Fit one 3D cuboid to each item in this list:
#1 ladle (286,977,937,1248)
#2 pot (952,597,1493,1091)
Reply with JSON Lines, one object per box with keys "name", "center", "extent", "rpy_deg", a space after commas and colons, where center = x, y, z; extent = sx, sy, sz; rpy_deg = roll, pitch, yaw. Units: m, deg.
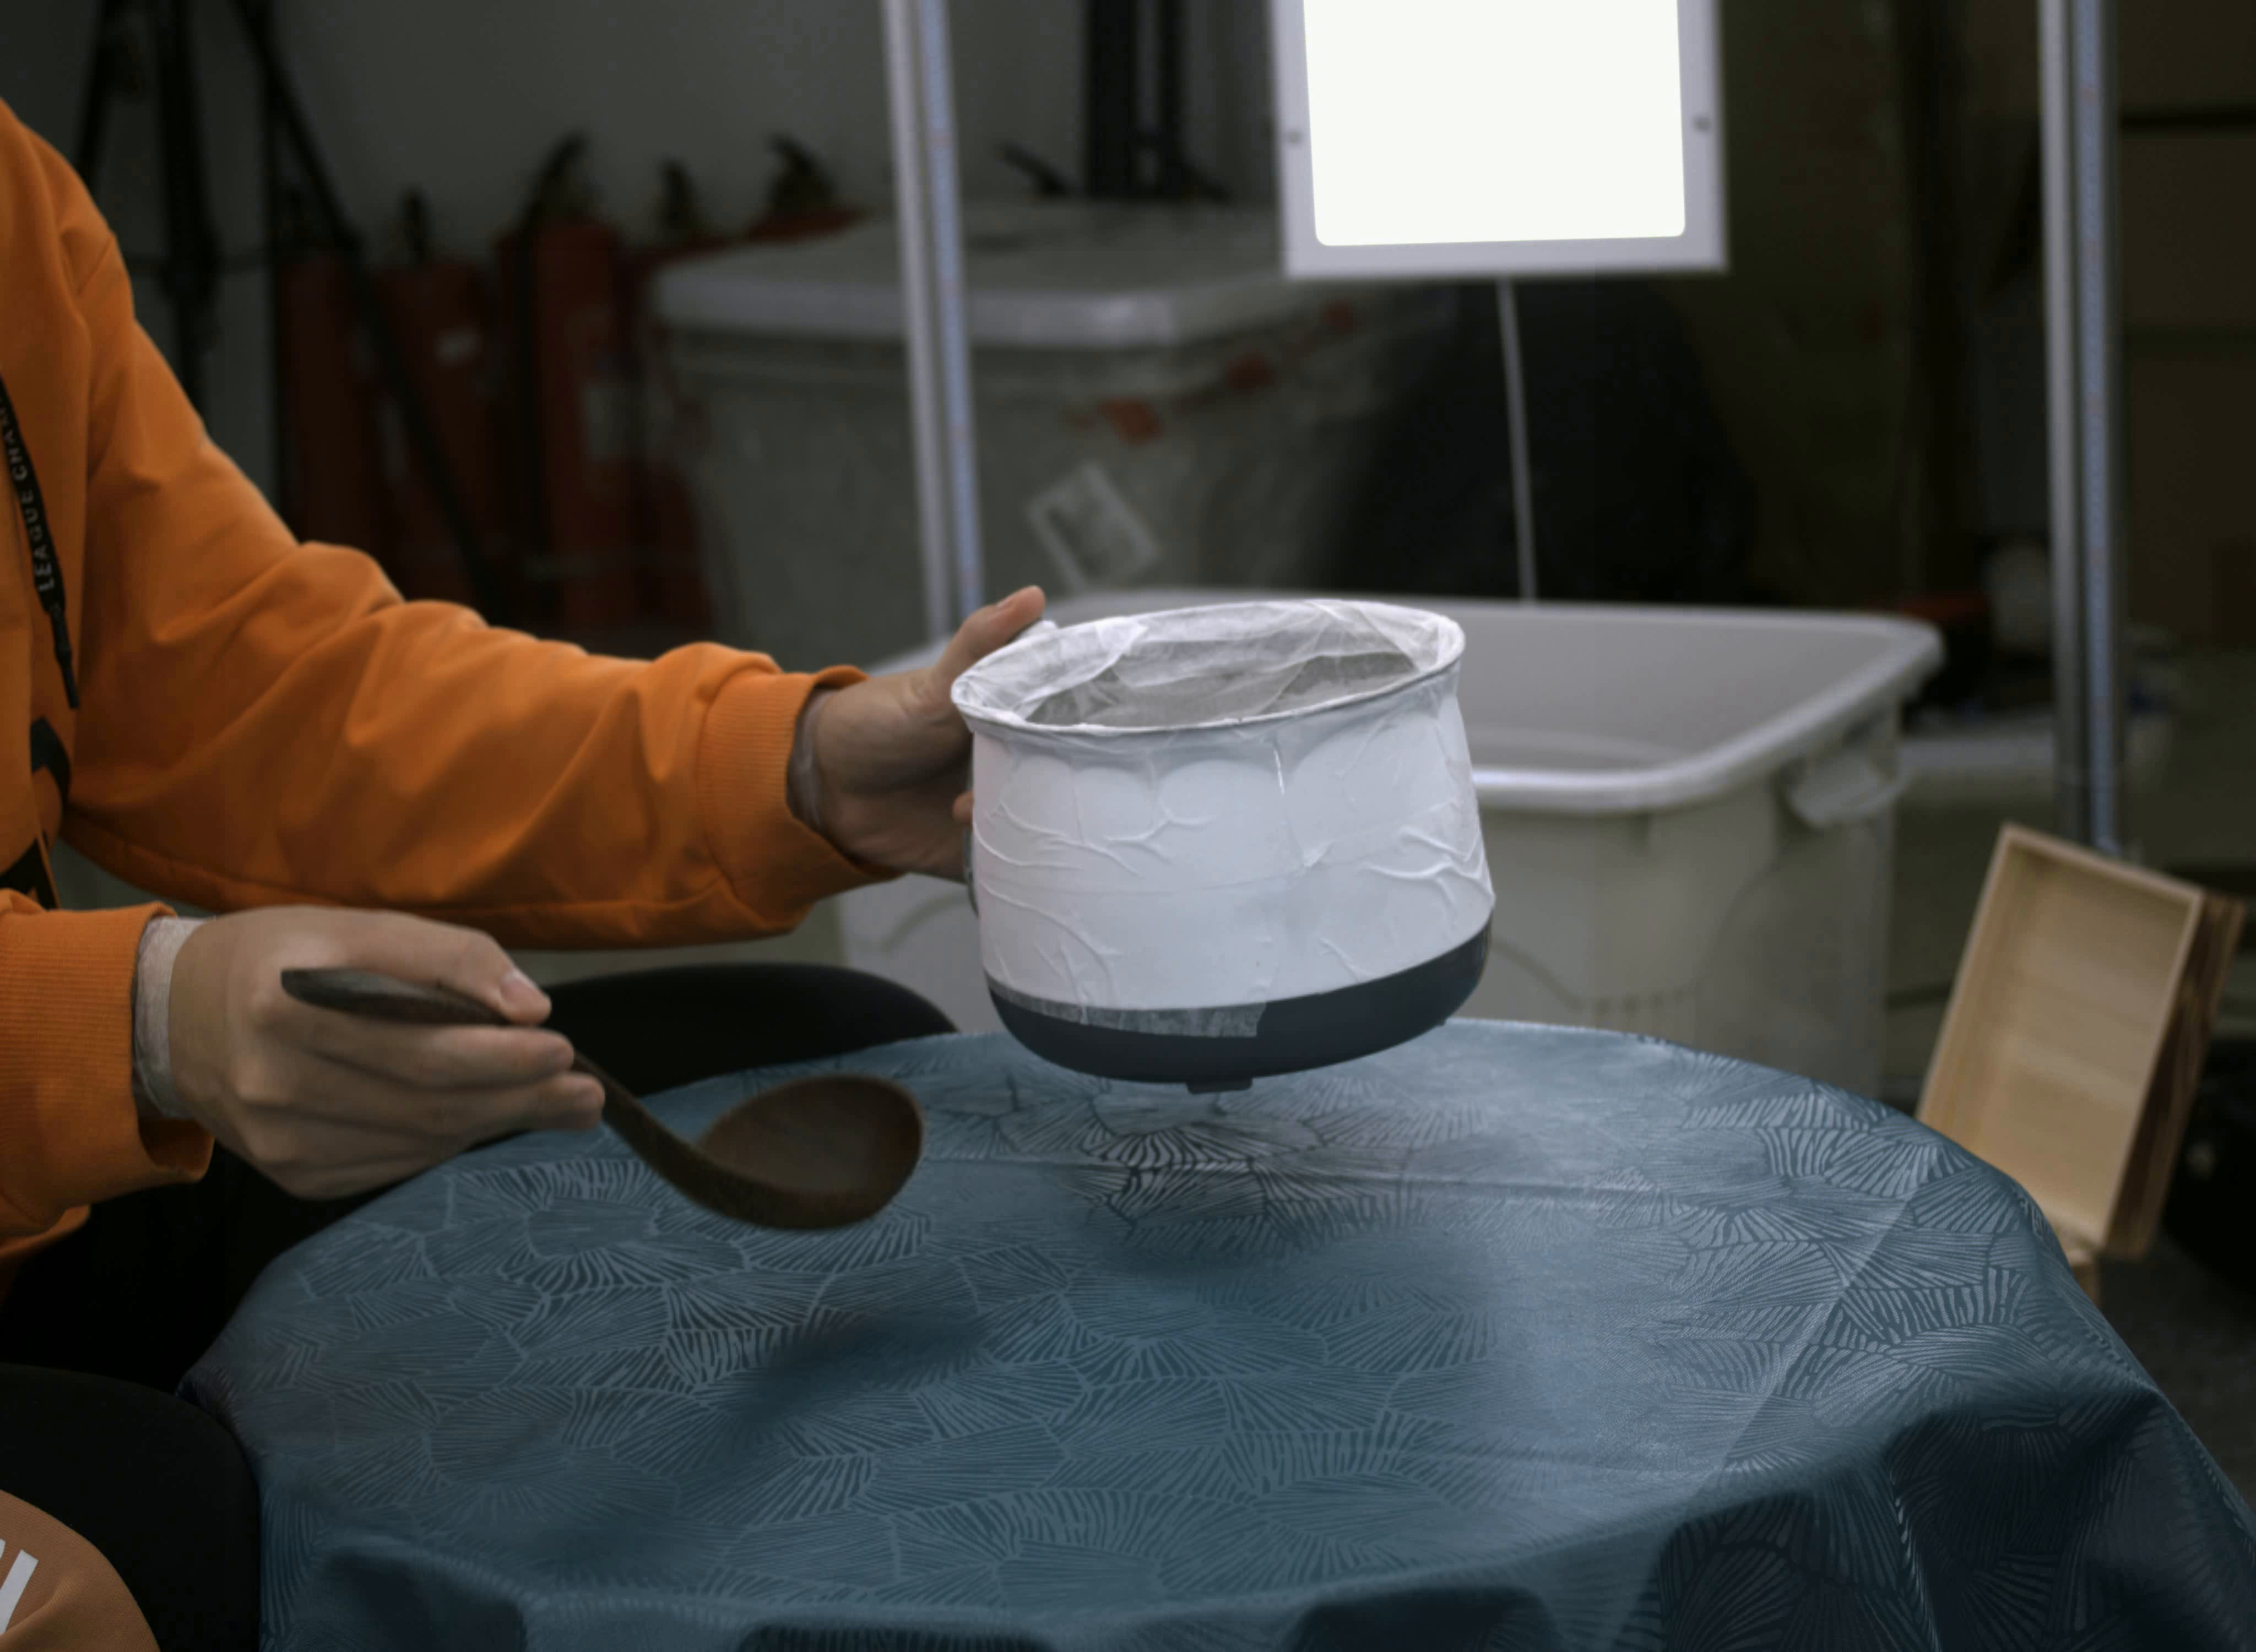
{"name": "ladle", "center": [-0.154, 0.069, 1.692], "extent": [0.077, 0.071, 0.269], "rpy_deg": [15, -13, 38]}
{"name": "pot", "center": [0.017, 0.001, 1.904], "extent": [0.174, 0.137, 0.238], "rpy_deg": [-16, 17, -34]}
